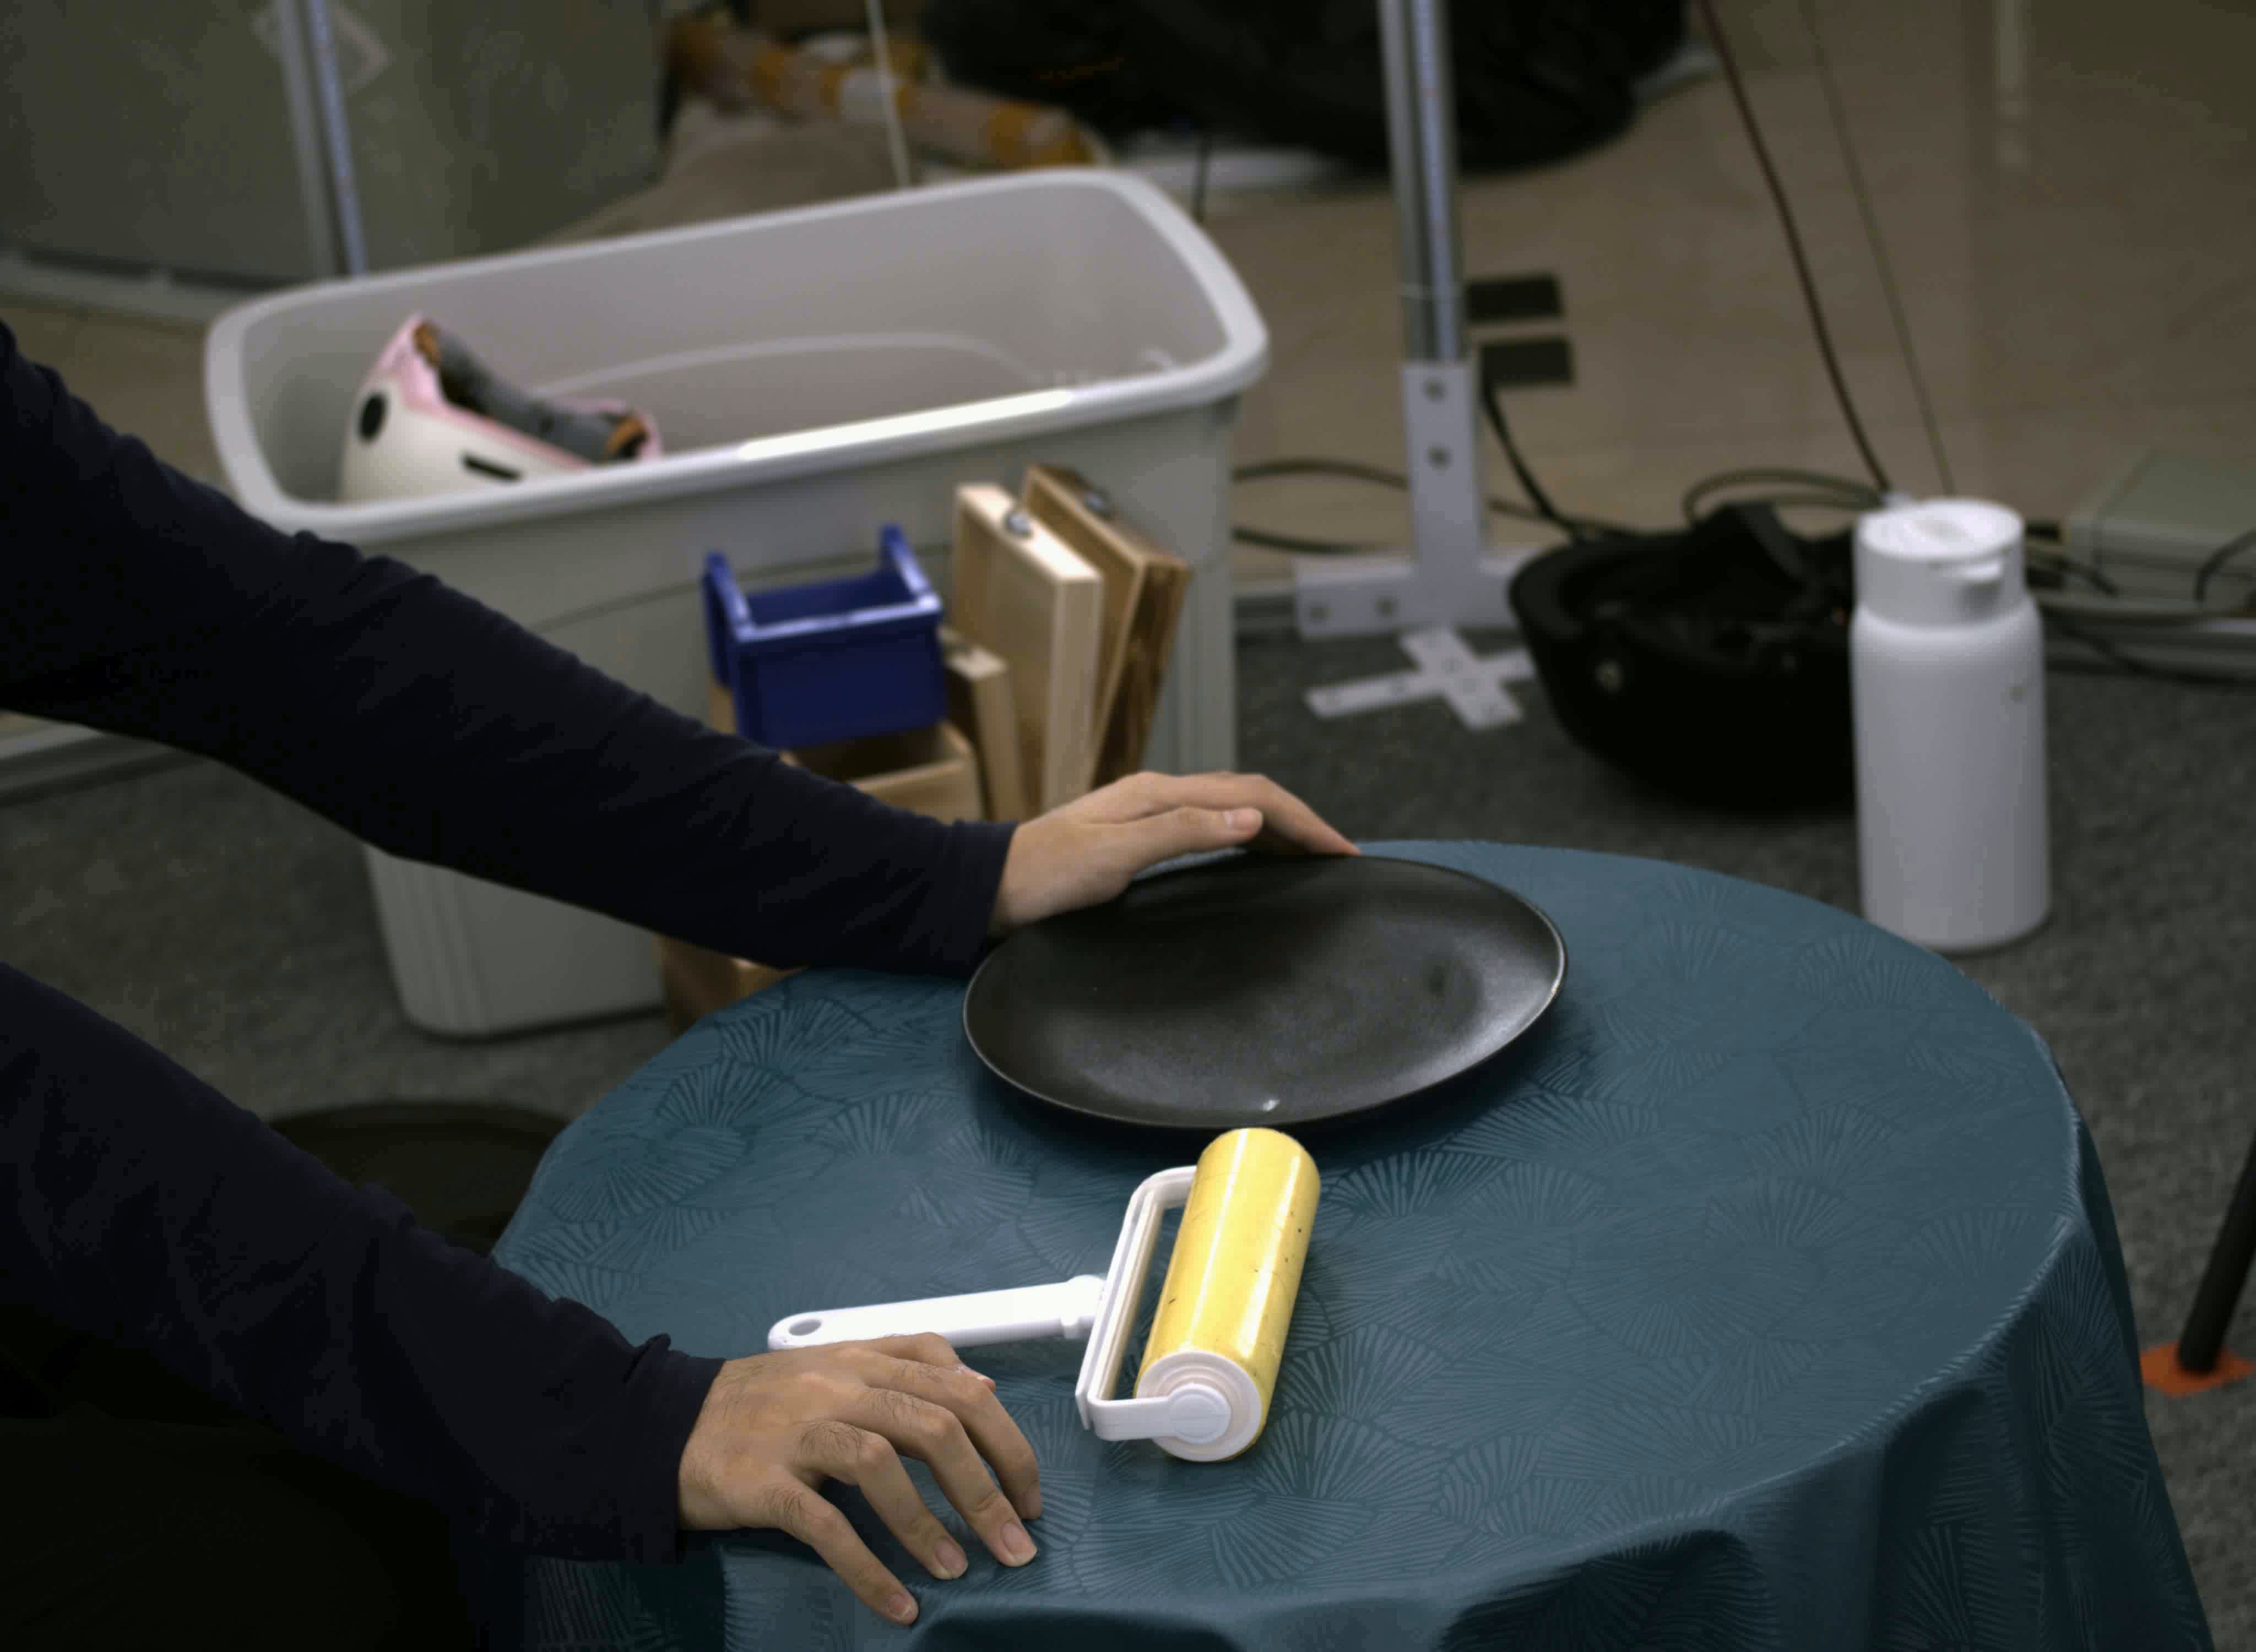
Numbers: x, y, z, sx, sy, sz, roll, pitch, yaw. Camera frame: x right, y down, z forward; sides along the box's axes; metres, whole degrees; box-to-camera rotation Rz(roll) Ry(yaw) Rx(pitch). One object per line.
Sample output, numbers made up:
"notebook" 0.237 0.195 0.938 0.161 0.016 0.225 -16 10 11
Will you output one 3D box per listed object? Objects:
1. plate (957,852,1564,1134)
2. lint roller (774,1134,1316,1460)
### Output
"plate" 0.053 0.071 2.257 0.244 0.024 0.241 -5 25 3
"lint roller" -0.034 0.169 2.038 0.191 0.052 0.172 0 25 7
